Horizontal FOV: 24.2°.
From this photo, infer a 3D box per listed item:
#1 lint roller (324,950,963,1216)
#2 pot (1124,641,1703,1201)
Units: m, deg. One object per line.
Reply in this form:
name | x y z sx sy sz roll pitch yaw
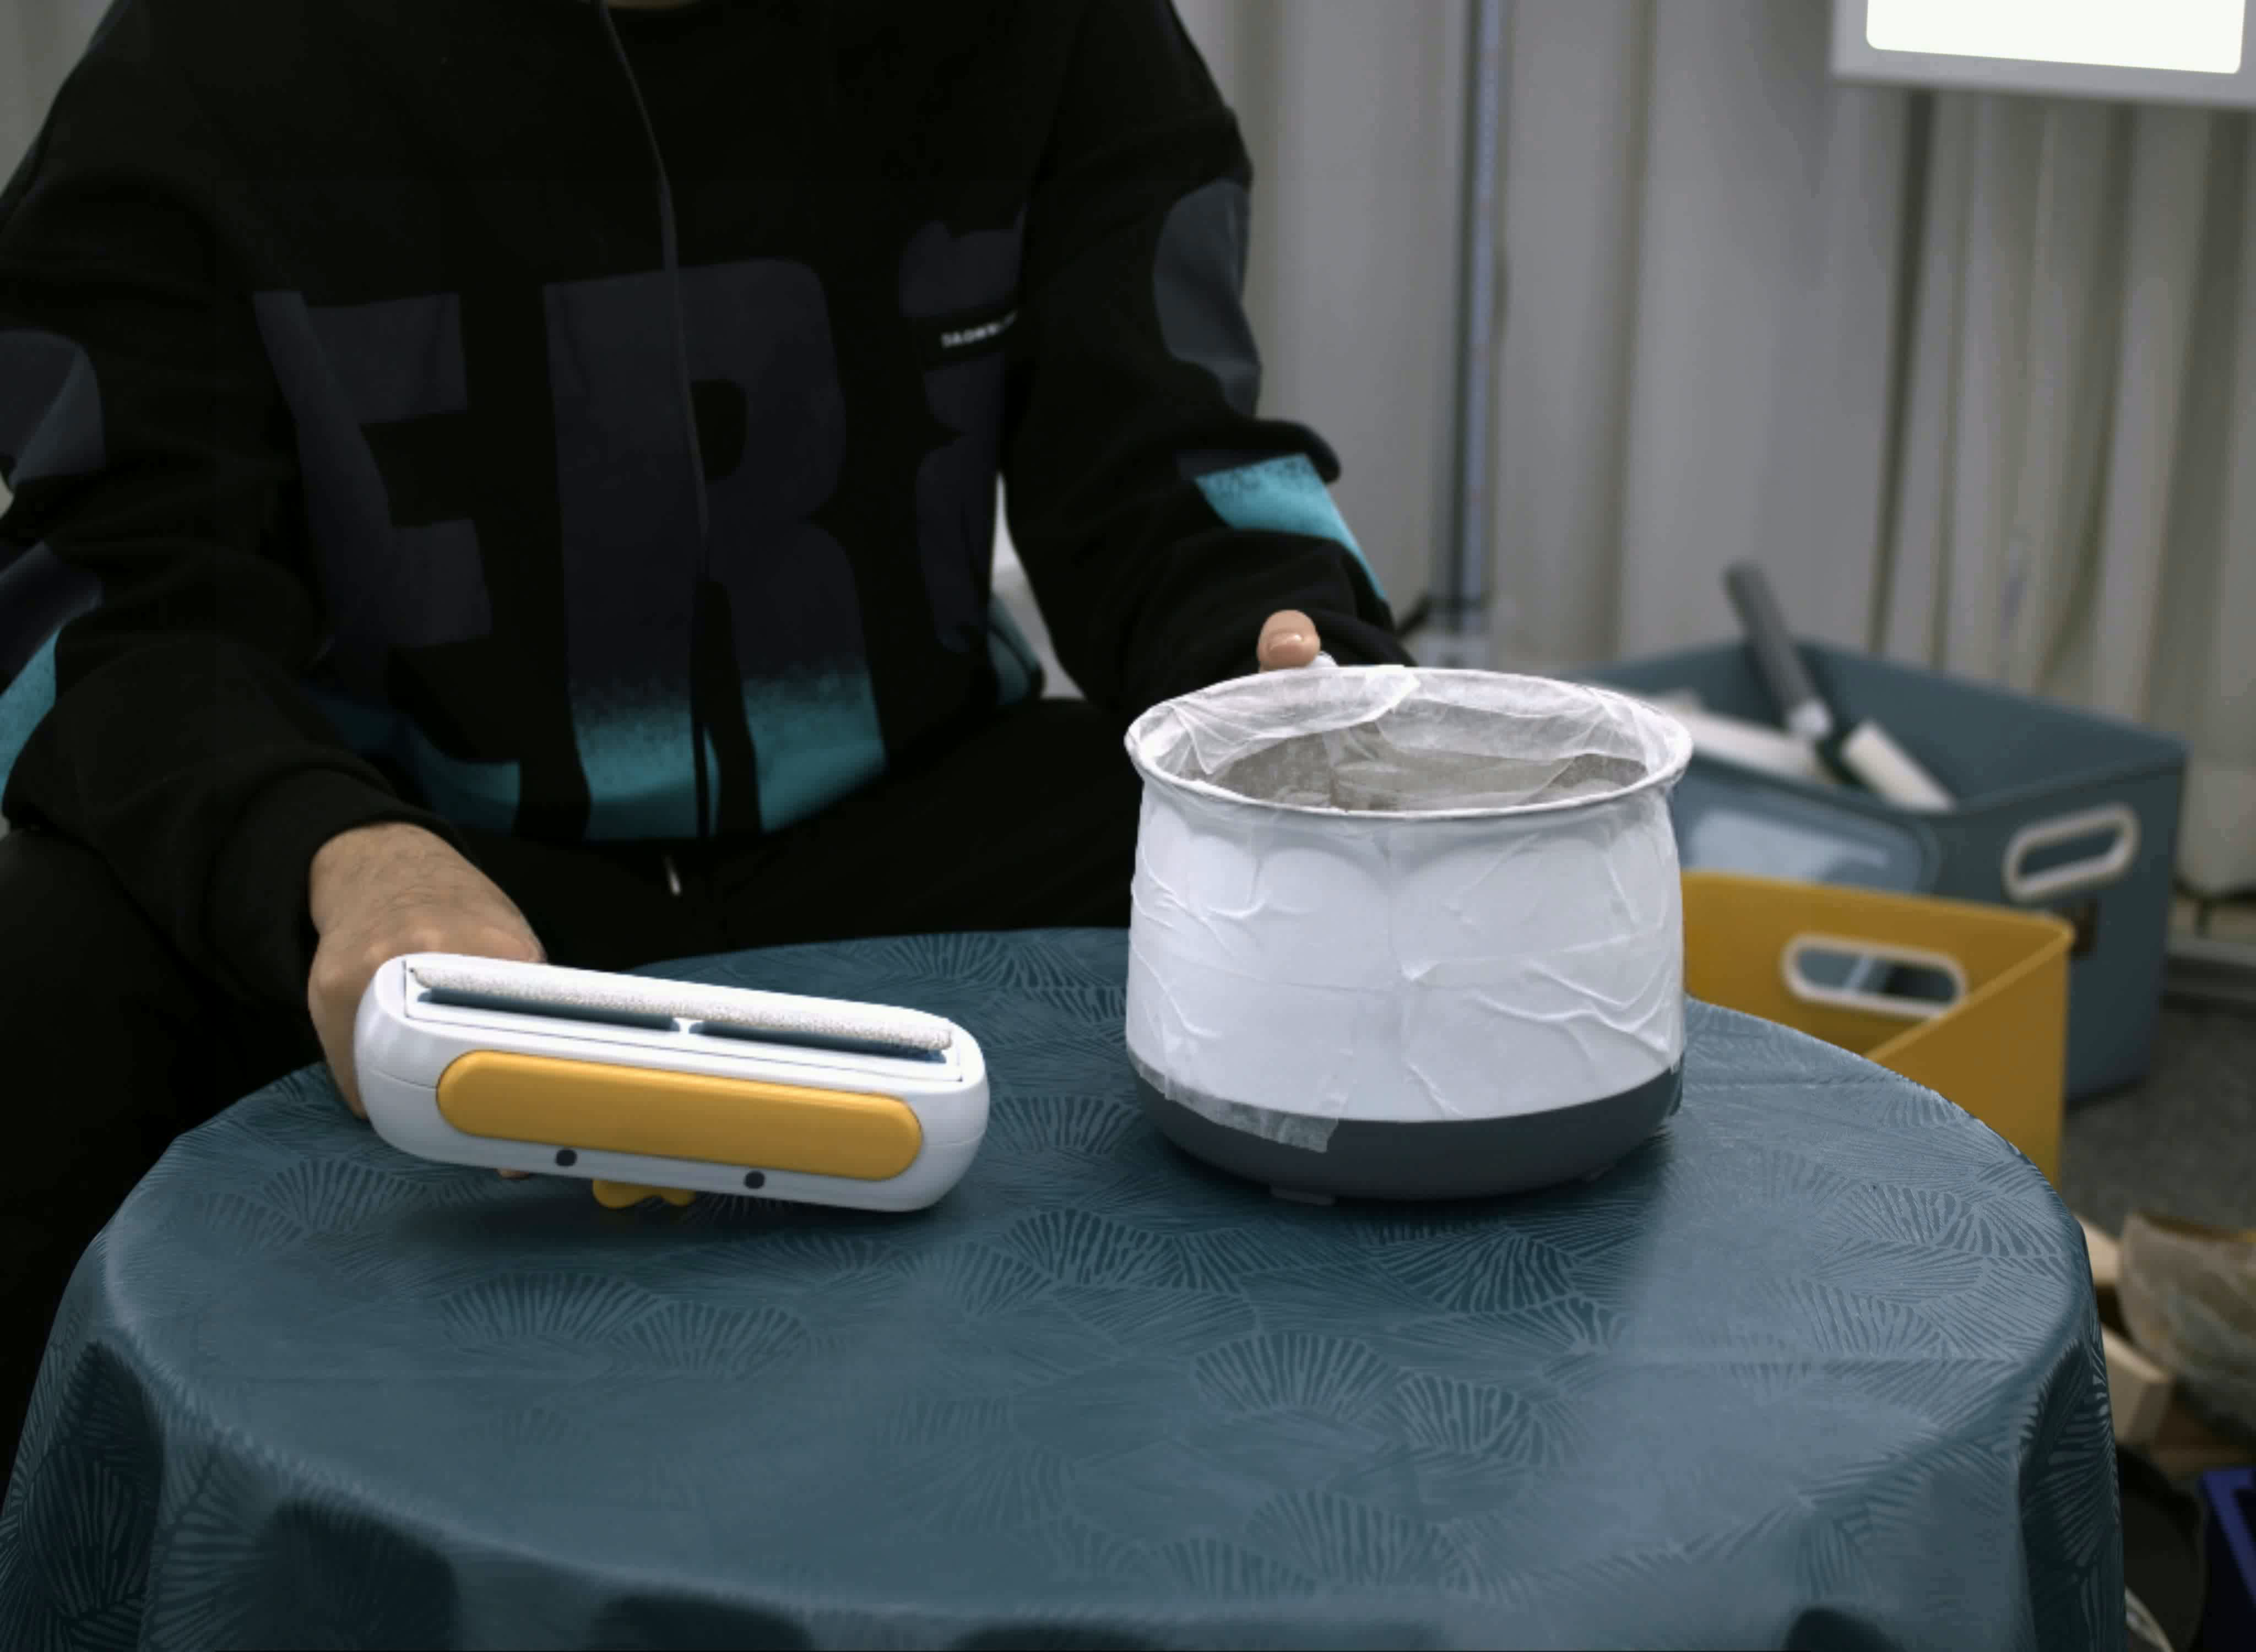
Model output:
lint roller | -0.152 0.070 1.643 0.193 0.075 0.191 4 13 -8
pot | 0.080 0.025 1.673 0.179 0.138 0.231 -3 17 -17
